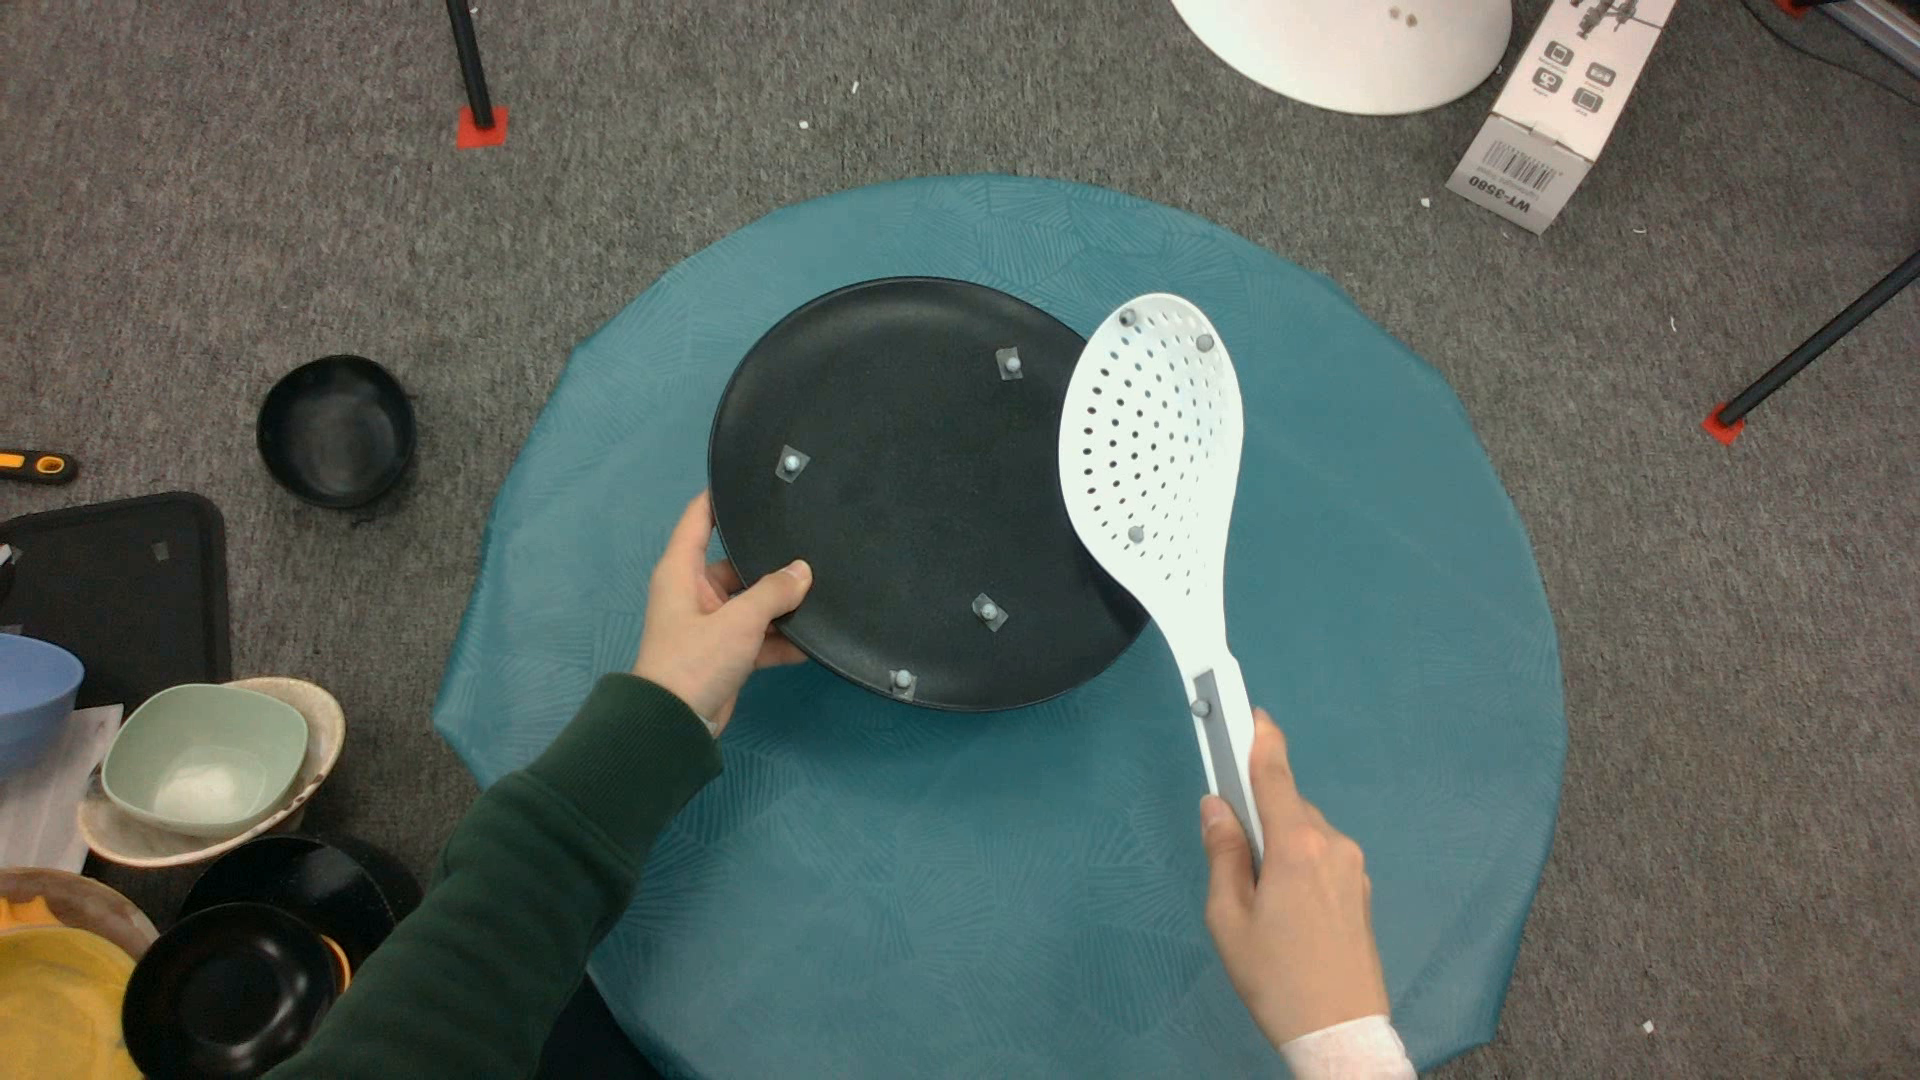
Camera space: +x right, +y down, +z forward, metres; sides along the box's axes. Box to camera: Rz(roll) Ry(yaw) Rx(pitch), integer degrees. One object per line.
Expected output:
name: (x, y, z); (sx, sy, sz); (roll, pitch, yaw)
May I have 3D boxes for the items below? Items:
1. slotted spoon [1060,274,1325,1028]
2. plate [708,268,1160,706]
slotted spoon: (0.110, 0.038, 0.628); (0.046, 0.135, 0.351); (8, 62, -27)
plate: (-0.006, -0.031, 0.699); (0.244, 0.023, 0.245); (7, 65, -14)
